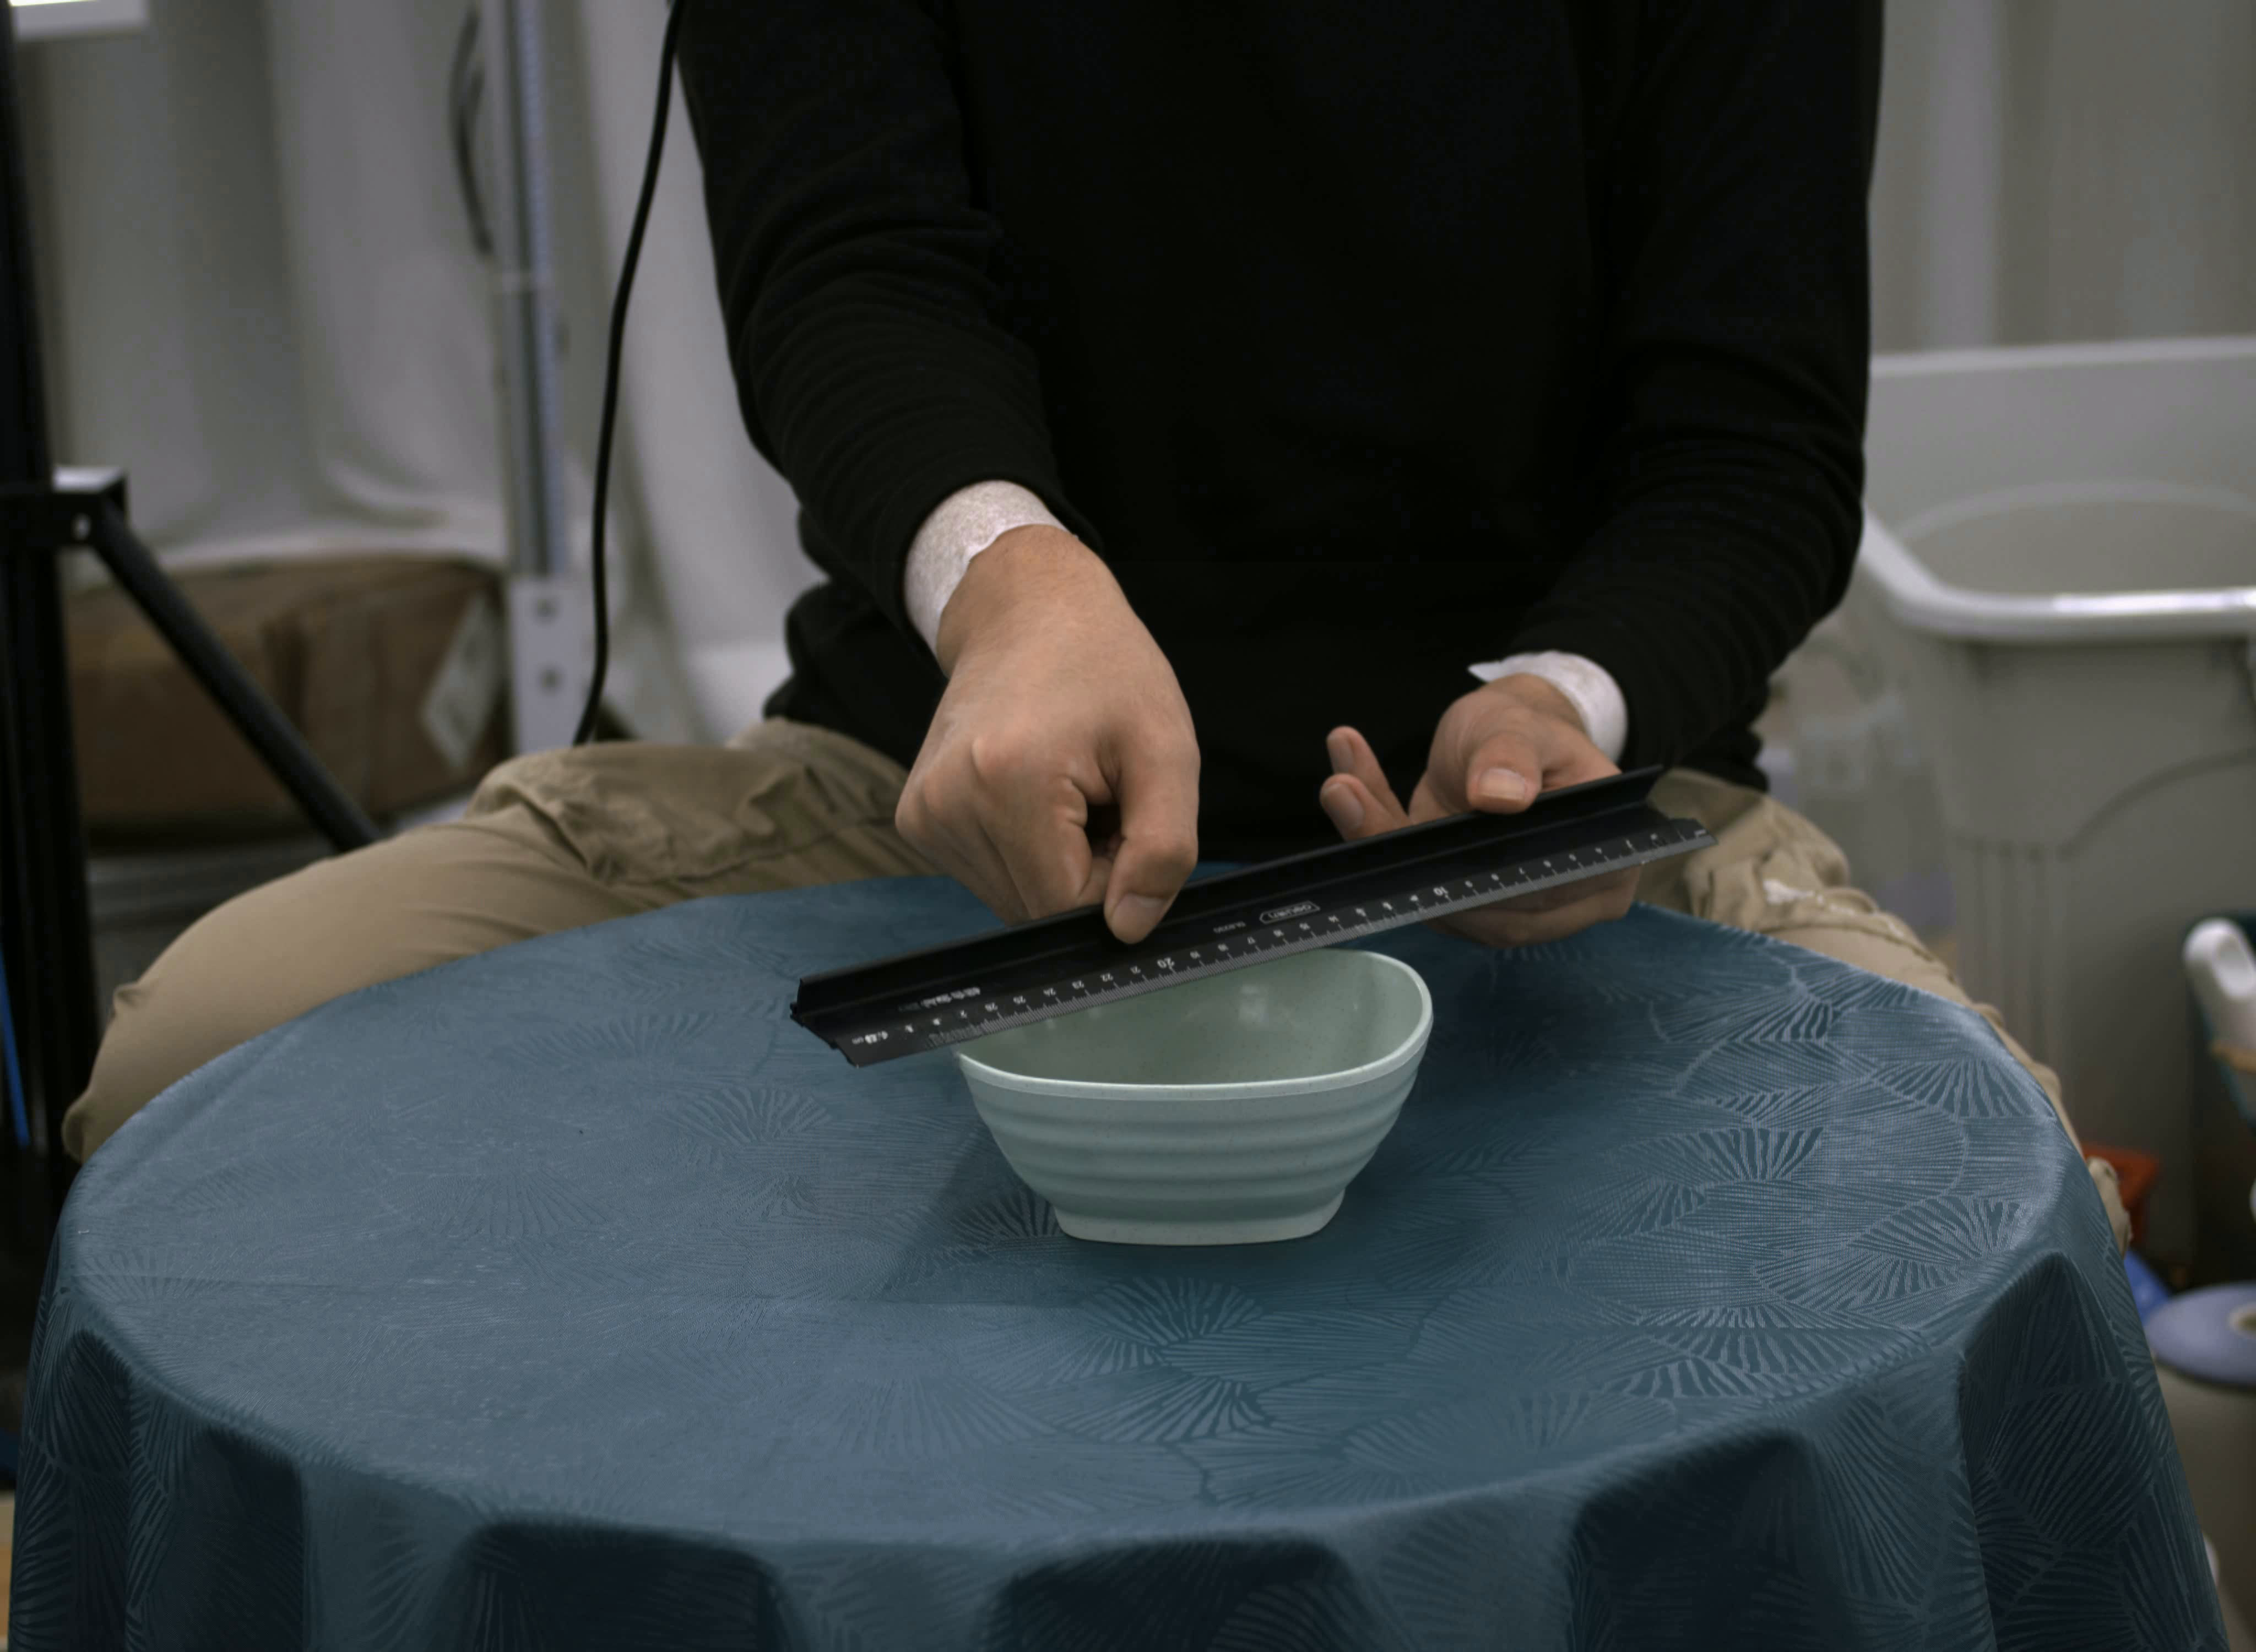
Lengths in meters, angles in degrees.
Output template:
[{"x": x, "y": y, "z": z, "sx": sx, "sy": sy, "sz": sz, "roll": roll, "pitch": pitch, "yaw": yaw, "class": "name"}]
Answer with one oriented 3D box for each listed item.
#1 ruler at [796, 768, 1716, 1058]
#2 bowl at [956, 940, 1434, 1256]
[{"x": 0.044, "y": 0.024, "z": 1.582, "sx": 0.306, "sy": 0.017, "sz": 0.040, "roll": -13, "pitch": 31, "yaw": -28, "class": "ruler"}, {"x": 0.021, "y": 0.082, "z": 1.545, "sx": 0.151, "sy": 0.058, "sz": 0.152, "roll": -4, "pitch": 17, "yaw": 0, "class": "bowl"}]
